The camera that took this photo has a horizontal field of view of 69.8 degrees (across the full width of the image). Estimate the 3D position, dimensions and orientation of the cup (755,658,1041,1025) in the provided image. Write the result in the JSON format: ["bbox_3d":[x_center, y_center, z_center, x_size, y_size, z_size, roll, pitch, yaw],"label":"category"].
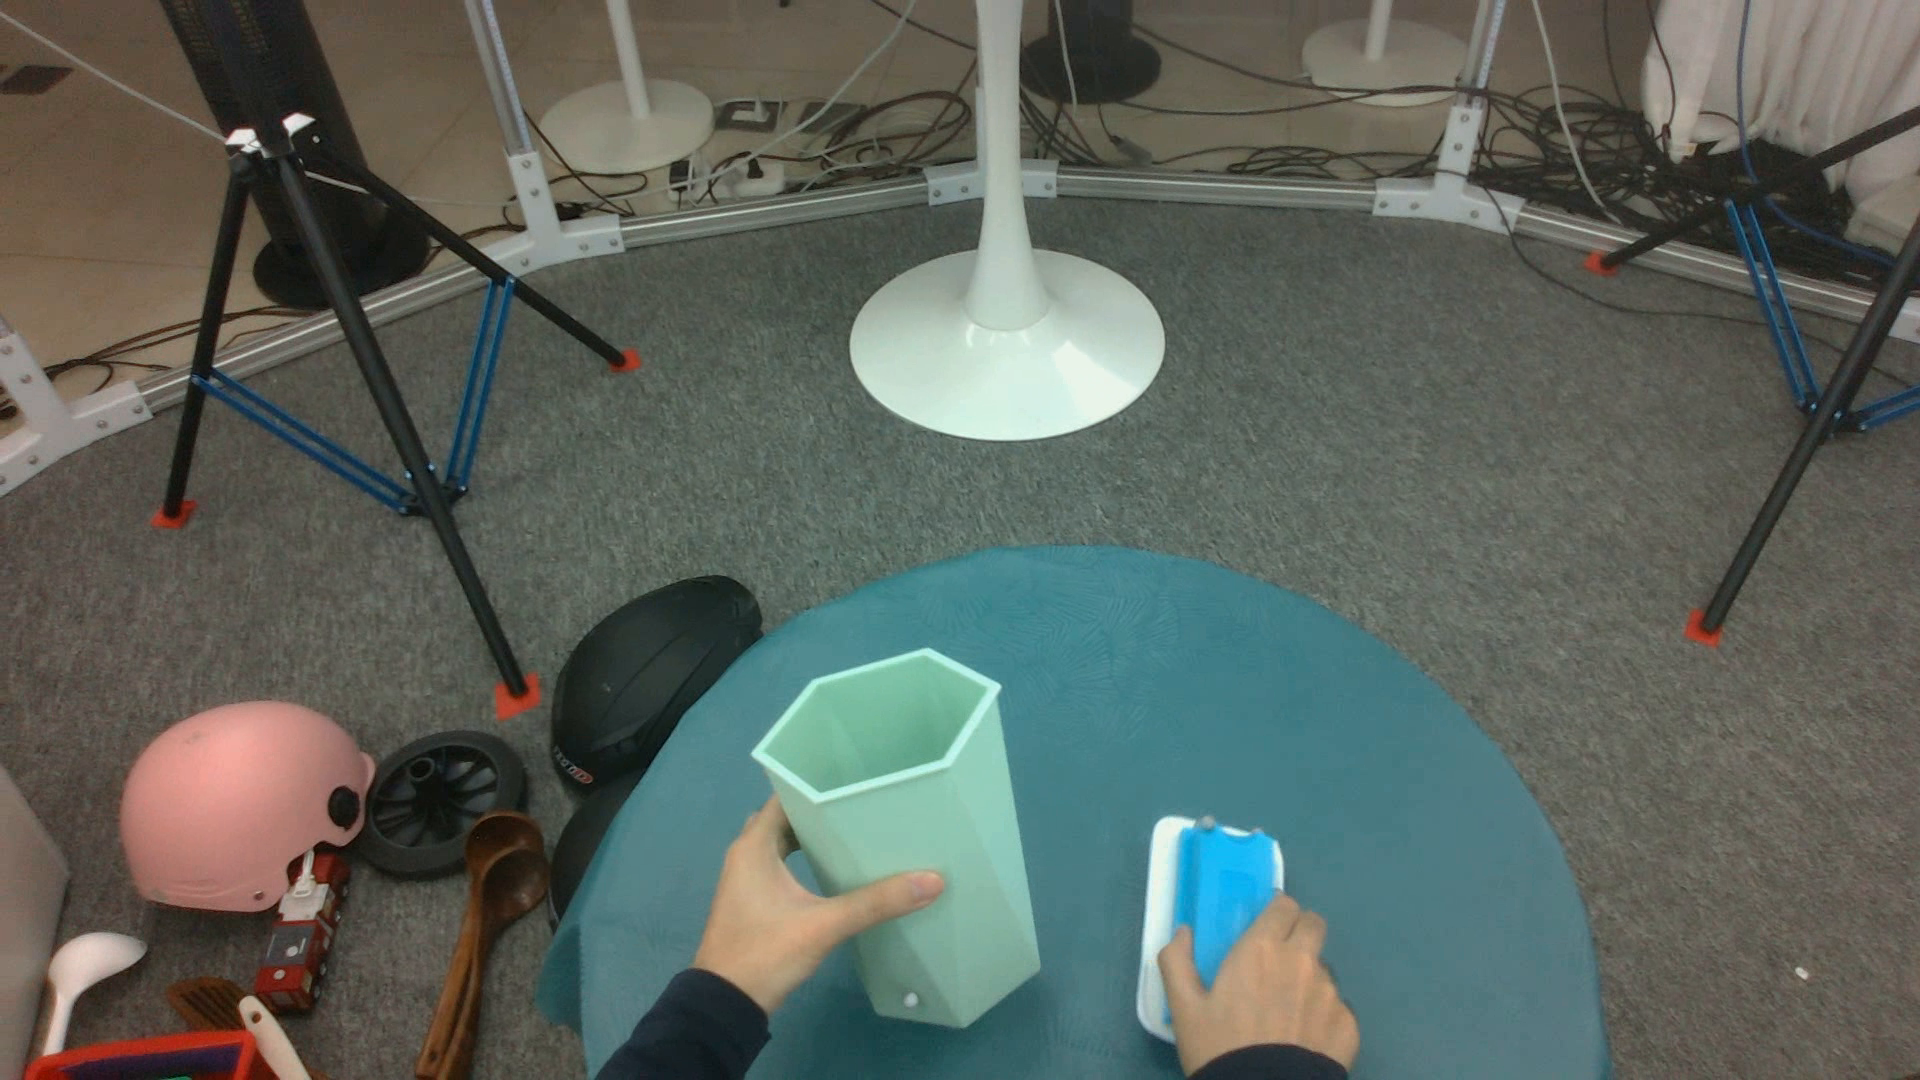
[{"bbox_3d":[-0.023,0.166,0.741,0.131,0.162,0.115,-16,27,-1],"label":"cup"}]

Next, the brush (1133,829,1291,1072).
[{"bbox_3d":[0.149,0.226,0.790,0.084,0.055,0.145,10,45,7],"label":"brush"}]
